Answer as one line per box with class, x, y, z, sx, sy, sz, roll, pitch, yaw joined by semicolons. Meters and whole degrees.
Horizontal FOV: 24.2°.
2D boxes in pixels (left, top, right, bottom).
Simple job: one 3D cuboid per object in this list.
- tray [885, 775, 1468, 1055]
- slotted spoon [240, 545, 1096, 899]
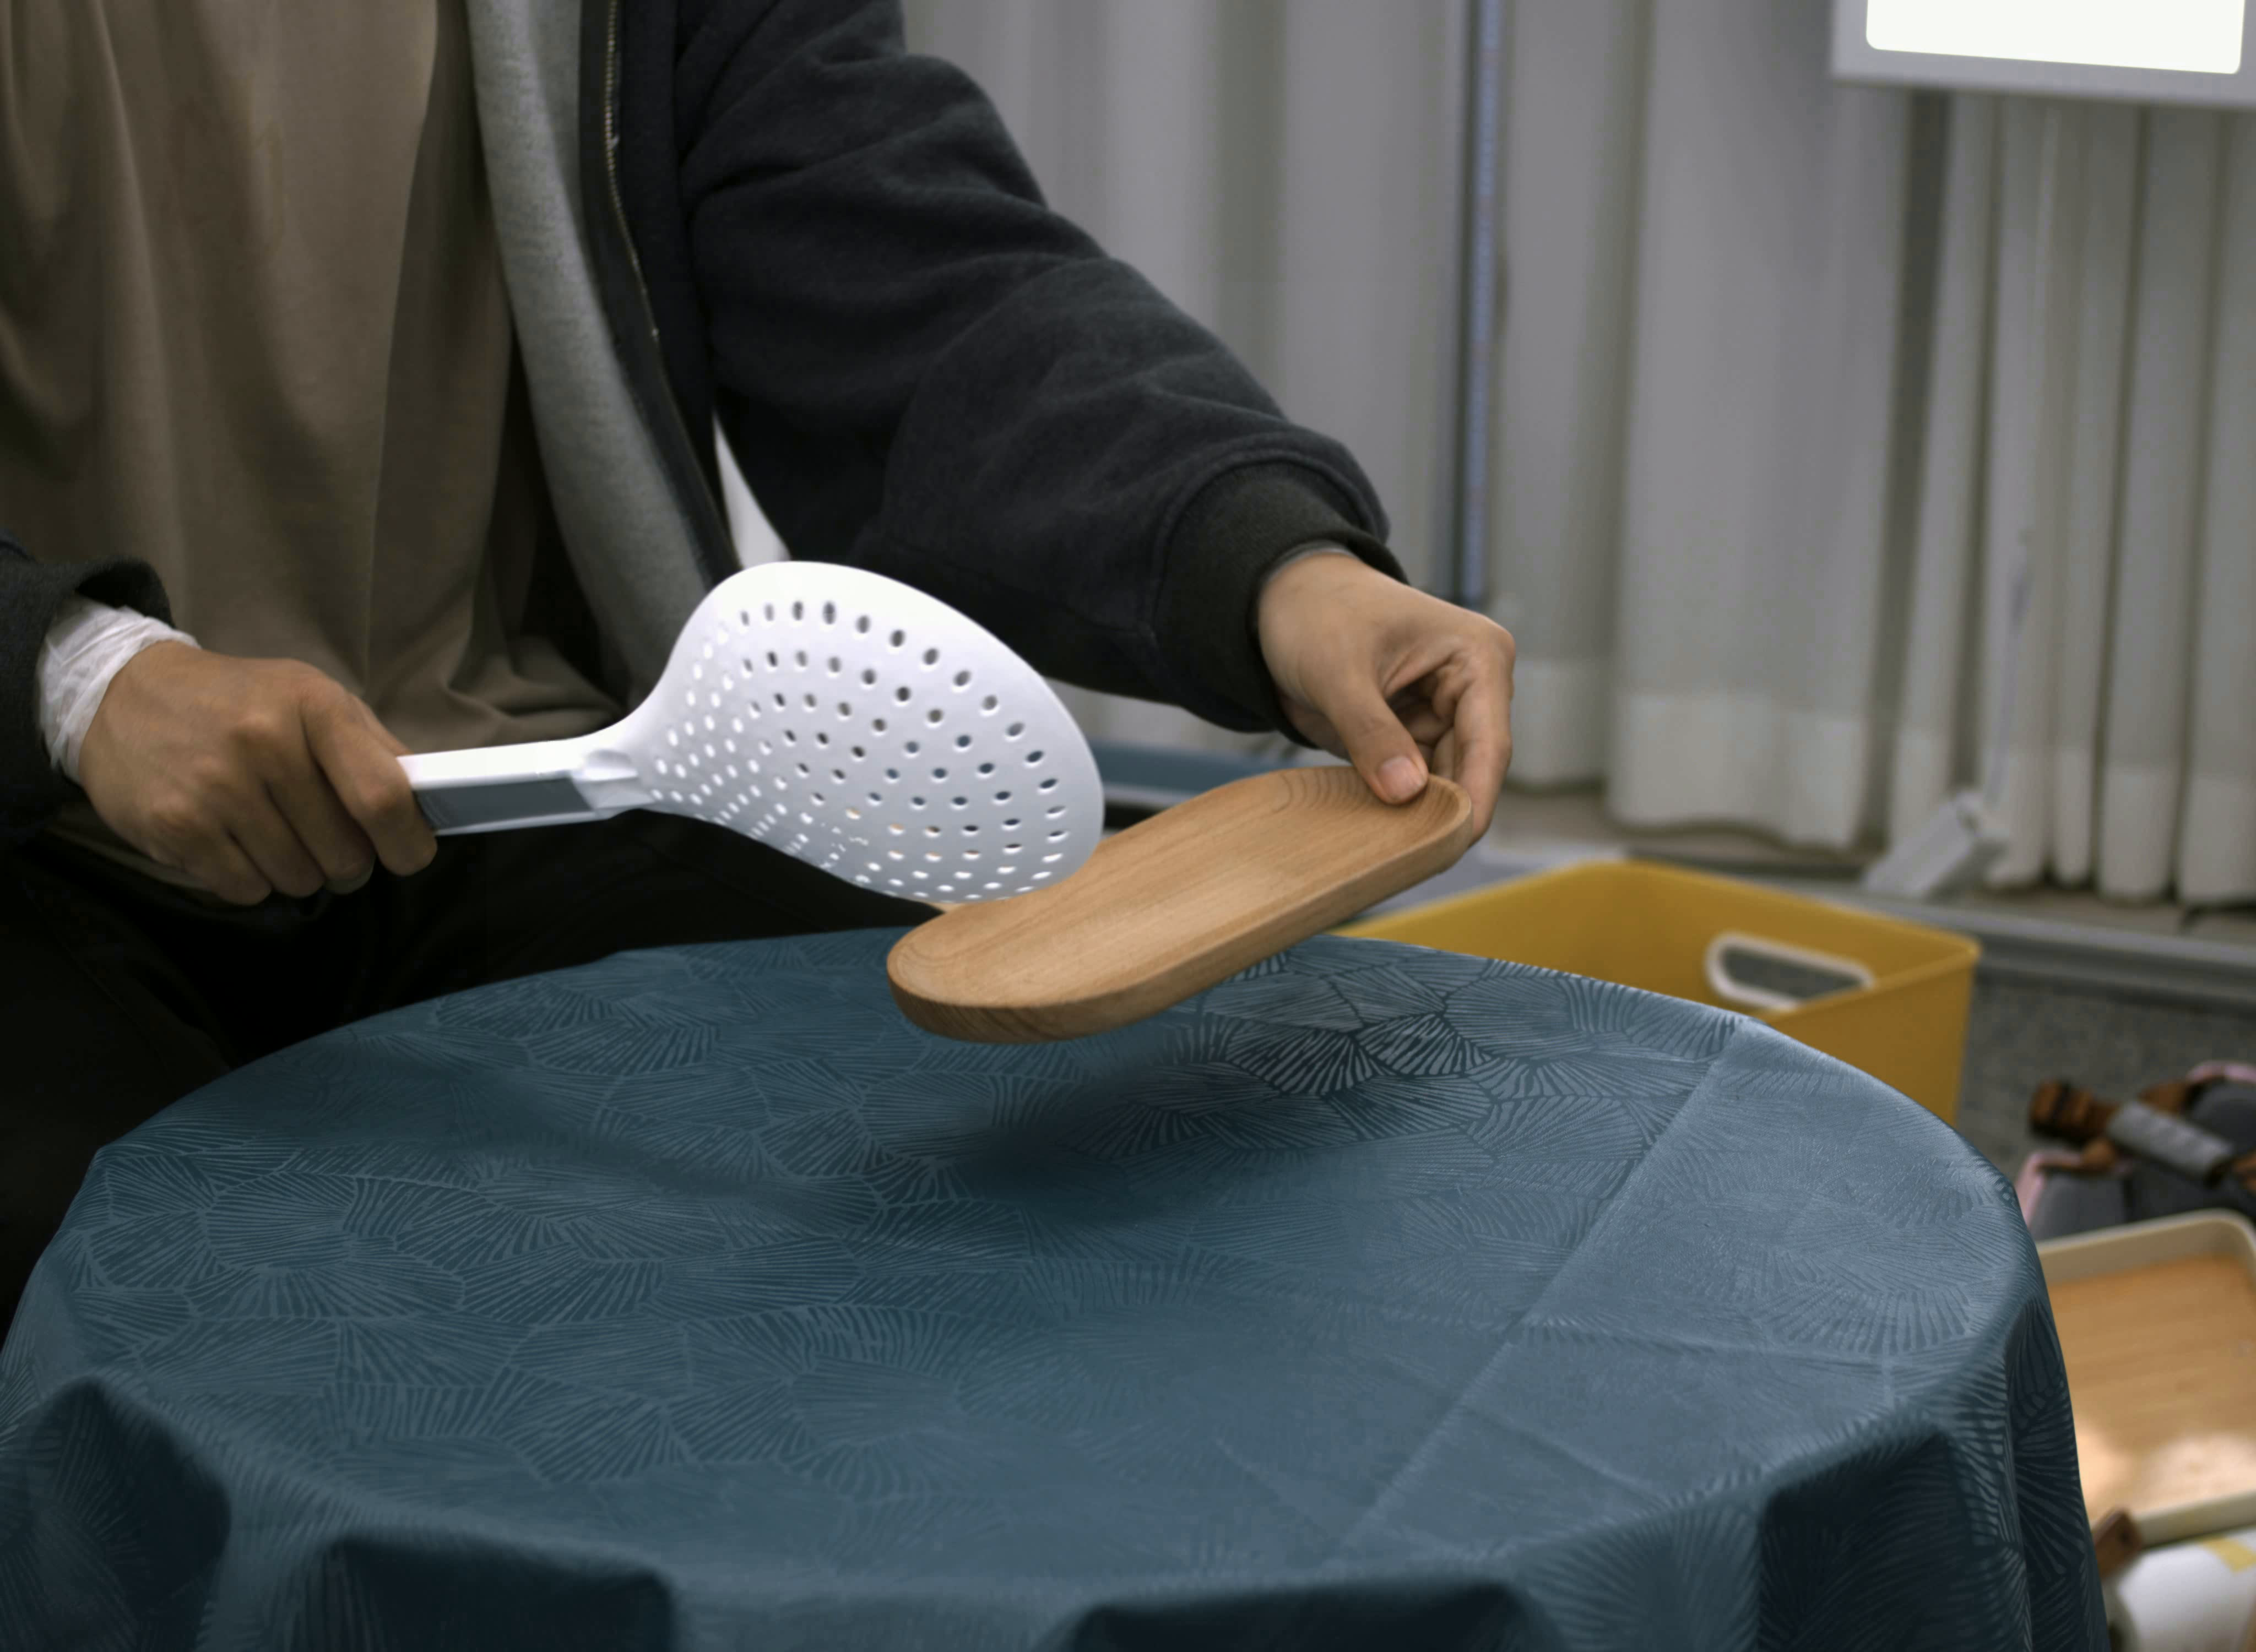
tray;0.018;0.027;1.685;0.100;0.020;0.232;11;26;41
slotted spoon;-0.154;-0.018;1.609;0.346;0.138;0.045;-1;43;44
